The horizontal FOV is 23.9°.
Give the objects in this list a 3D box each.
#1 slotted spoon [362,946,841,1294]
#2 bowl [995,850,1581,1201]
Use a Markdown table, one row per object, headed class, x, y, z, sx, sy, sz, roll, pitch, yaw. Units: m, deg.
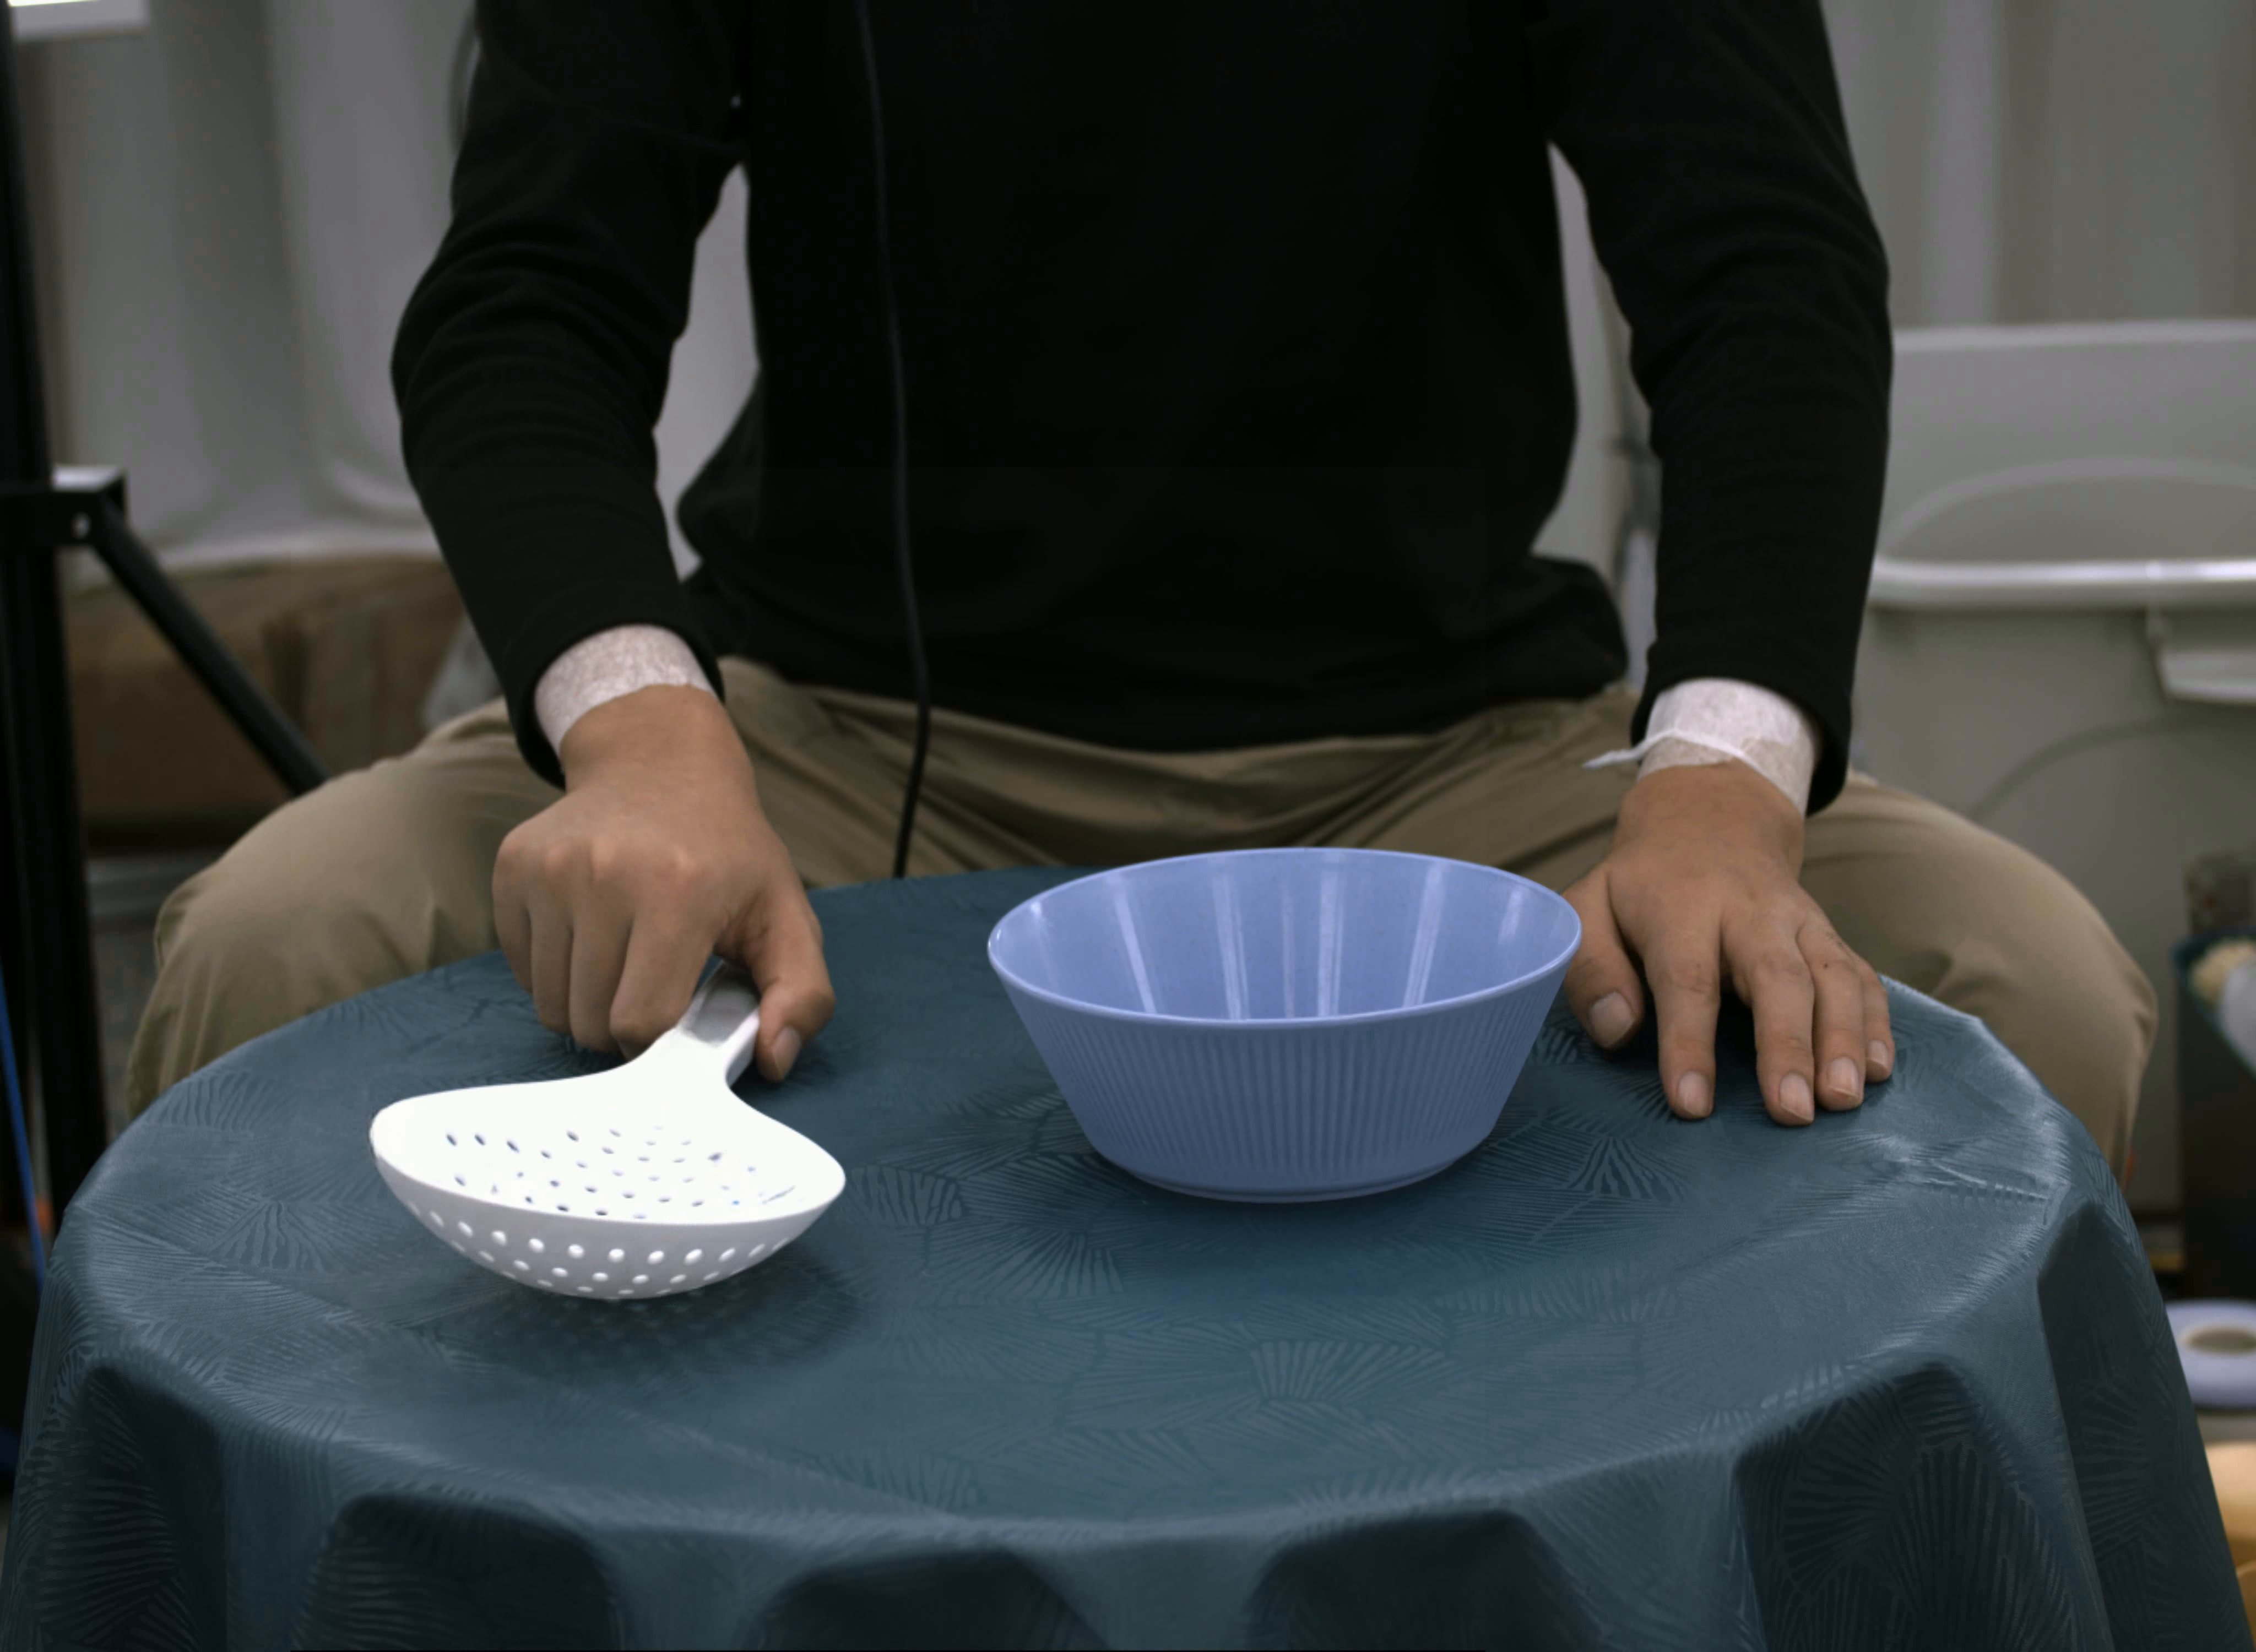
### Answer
| class | x | y | z | sx | sy | sz | roll | pitch | yaw |
| --- | --- | --- | --- | --- | --- | --- | --- | --- | --- |
| slotted spoon | -0.137 | 0.078 | 1.599 | 0.136 | 0.046 | 0.349 | 7 | 15 | 5 |
| bowl | 0.048 | 0.062 | 1.584 | 0.175 | 0.070 | 0.177 | -2 | 15 | -1 |
